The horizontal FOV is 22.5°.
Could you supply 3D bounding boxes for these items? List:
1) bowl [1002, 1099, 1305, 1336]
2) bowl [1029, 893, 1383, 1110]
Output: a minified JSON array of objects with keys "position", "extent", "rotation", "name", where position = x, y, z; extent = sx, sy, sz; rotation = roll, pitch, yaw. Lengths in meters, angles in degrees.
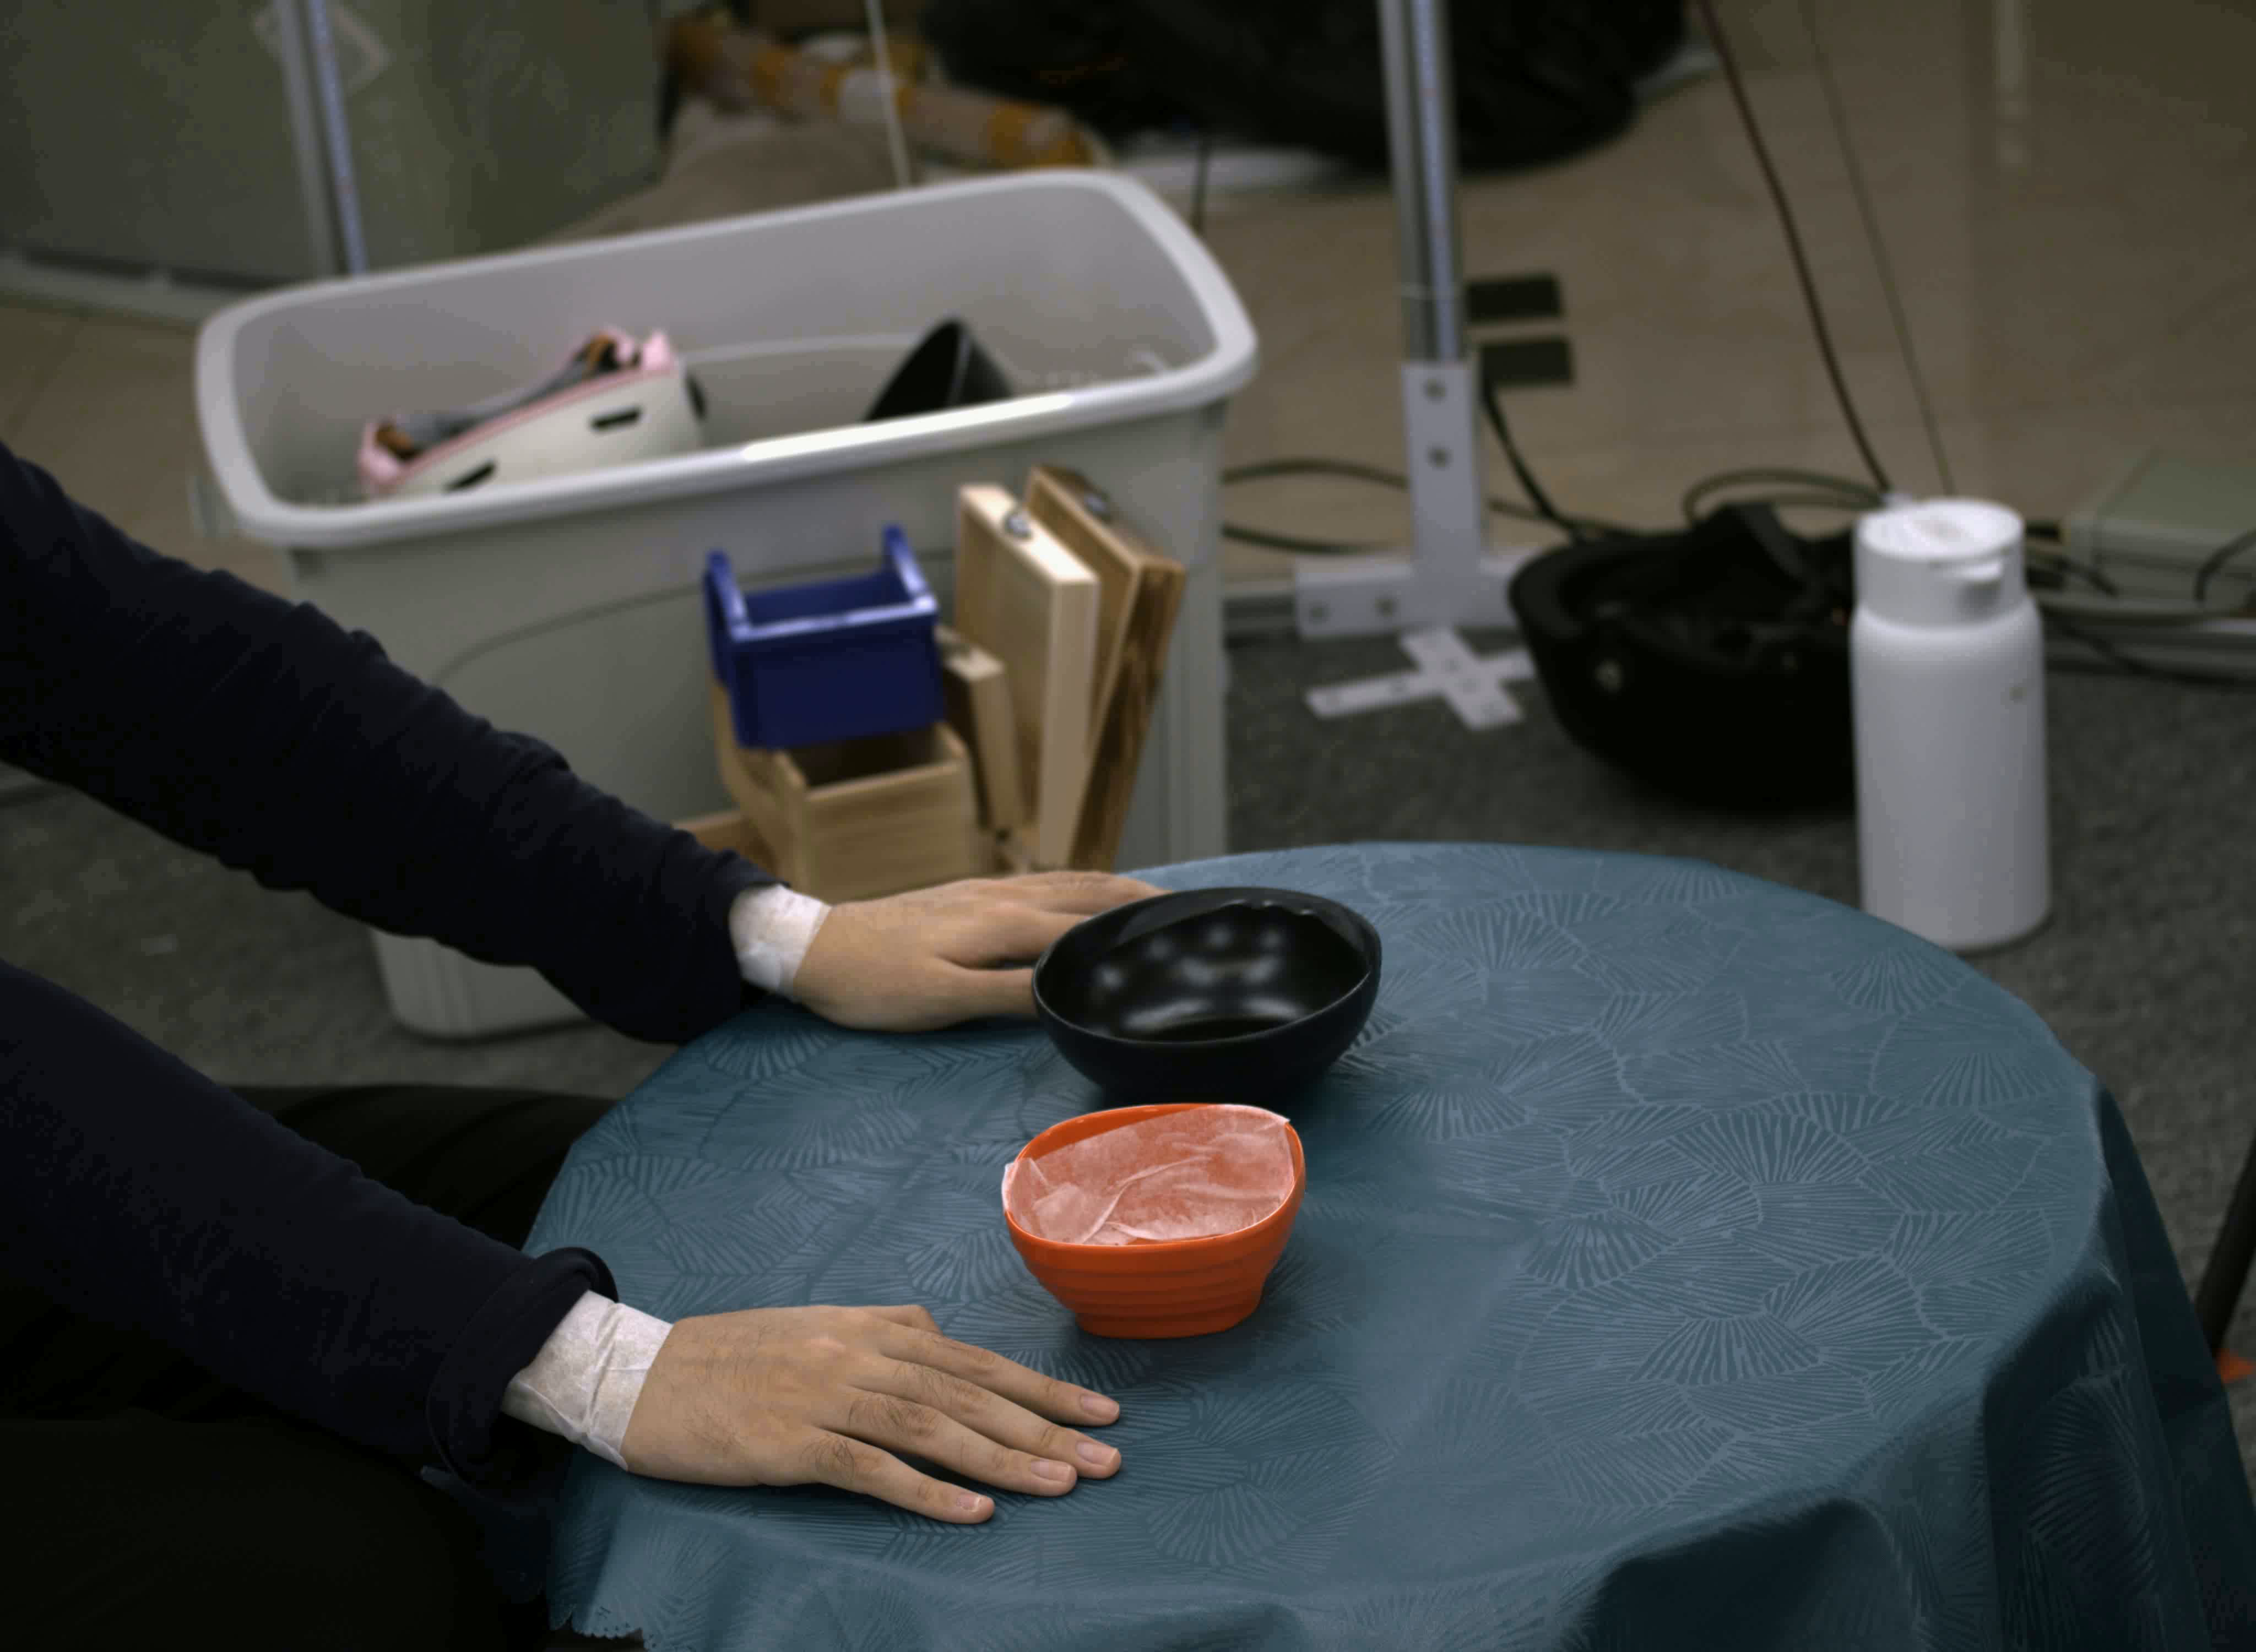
[{"position":[0.011,0.147,2.068],"extent":[0.119,0.052,0.117],"rotation":[-4,26,2],"name":"bowl"},{"position":[0.033,0.078,2.223],"extent":[0.140,0.050,0.138],"rotation":[-9,24,4],"name":"bowl"}]
